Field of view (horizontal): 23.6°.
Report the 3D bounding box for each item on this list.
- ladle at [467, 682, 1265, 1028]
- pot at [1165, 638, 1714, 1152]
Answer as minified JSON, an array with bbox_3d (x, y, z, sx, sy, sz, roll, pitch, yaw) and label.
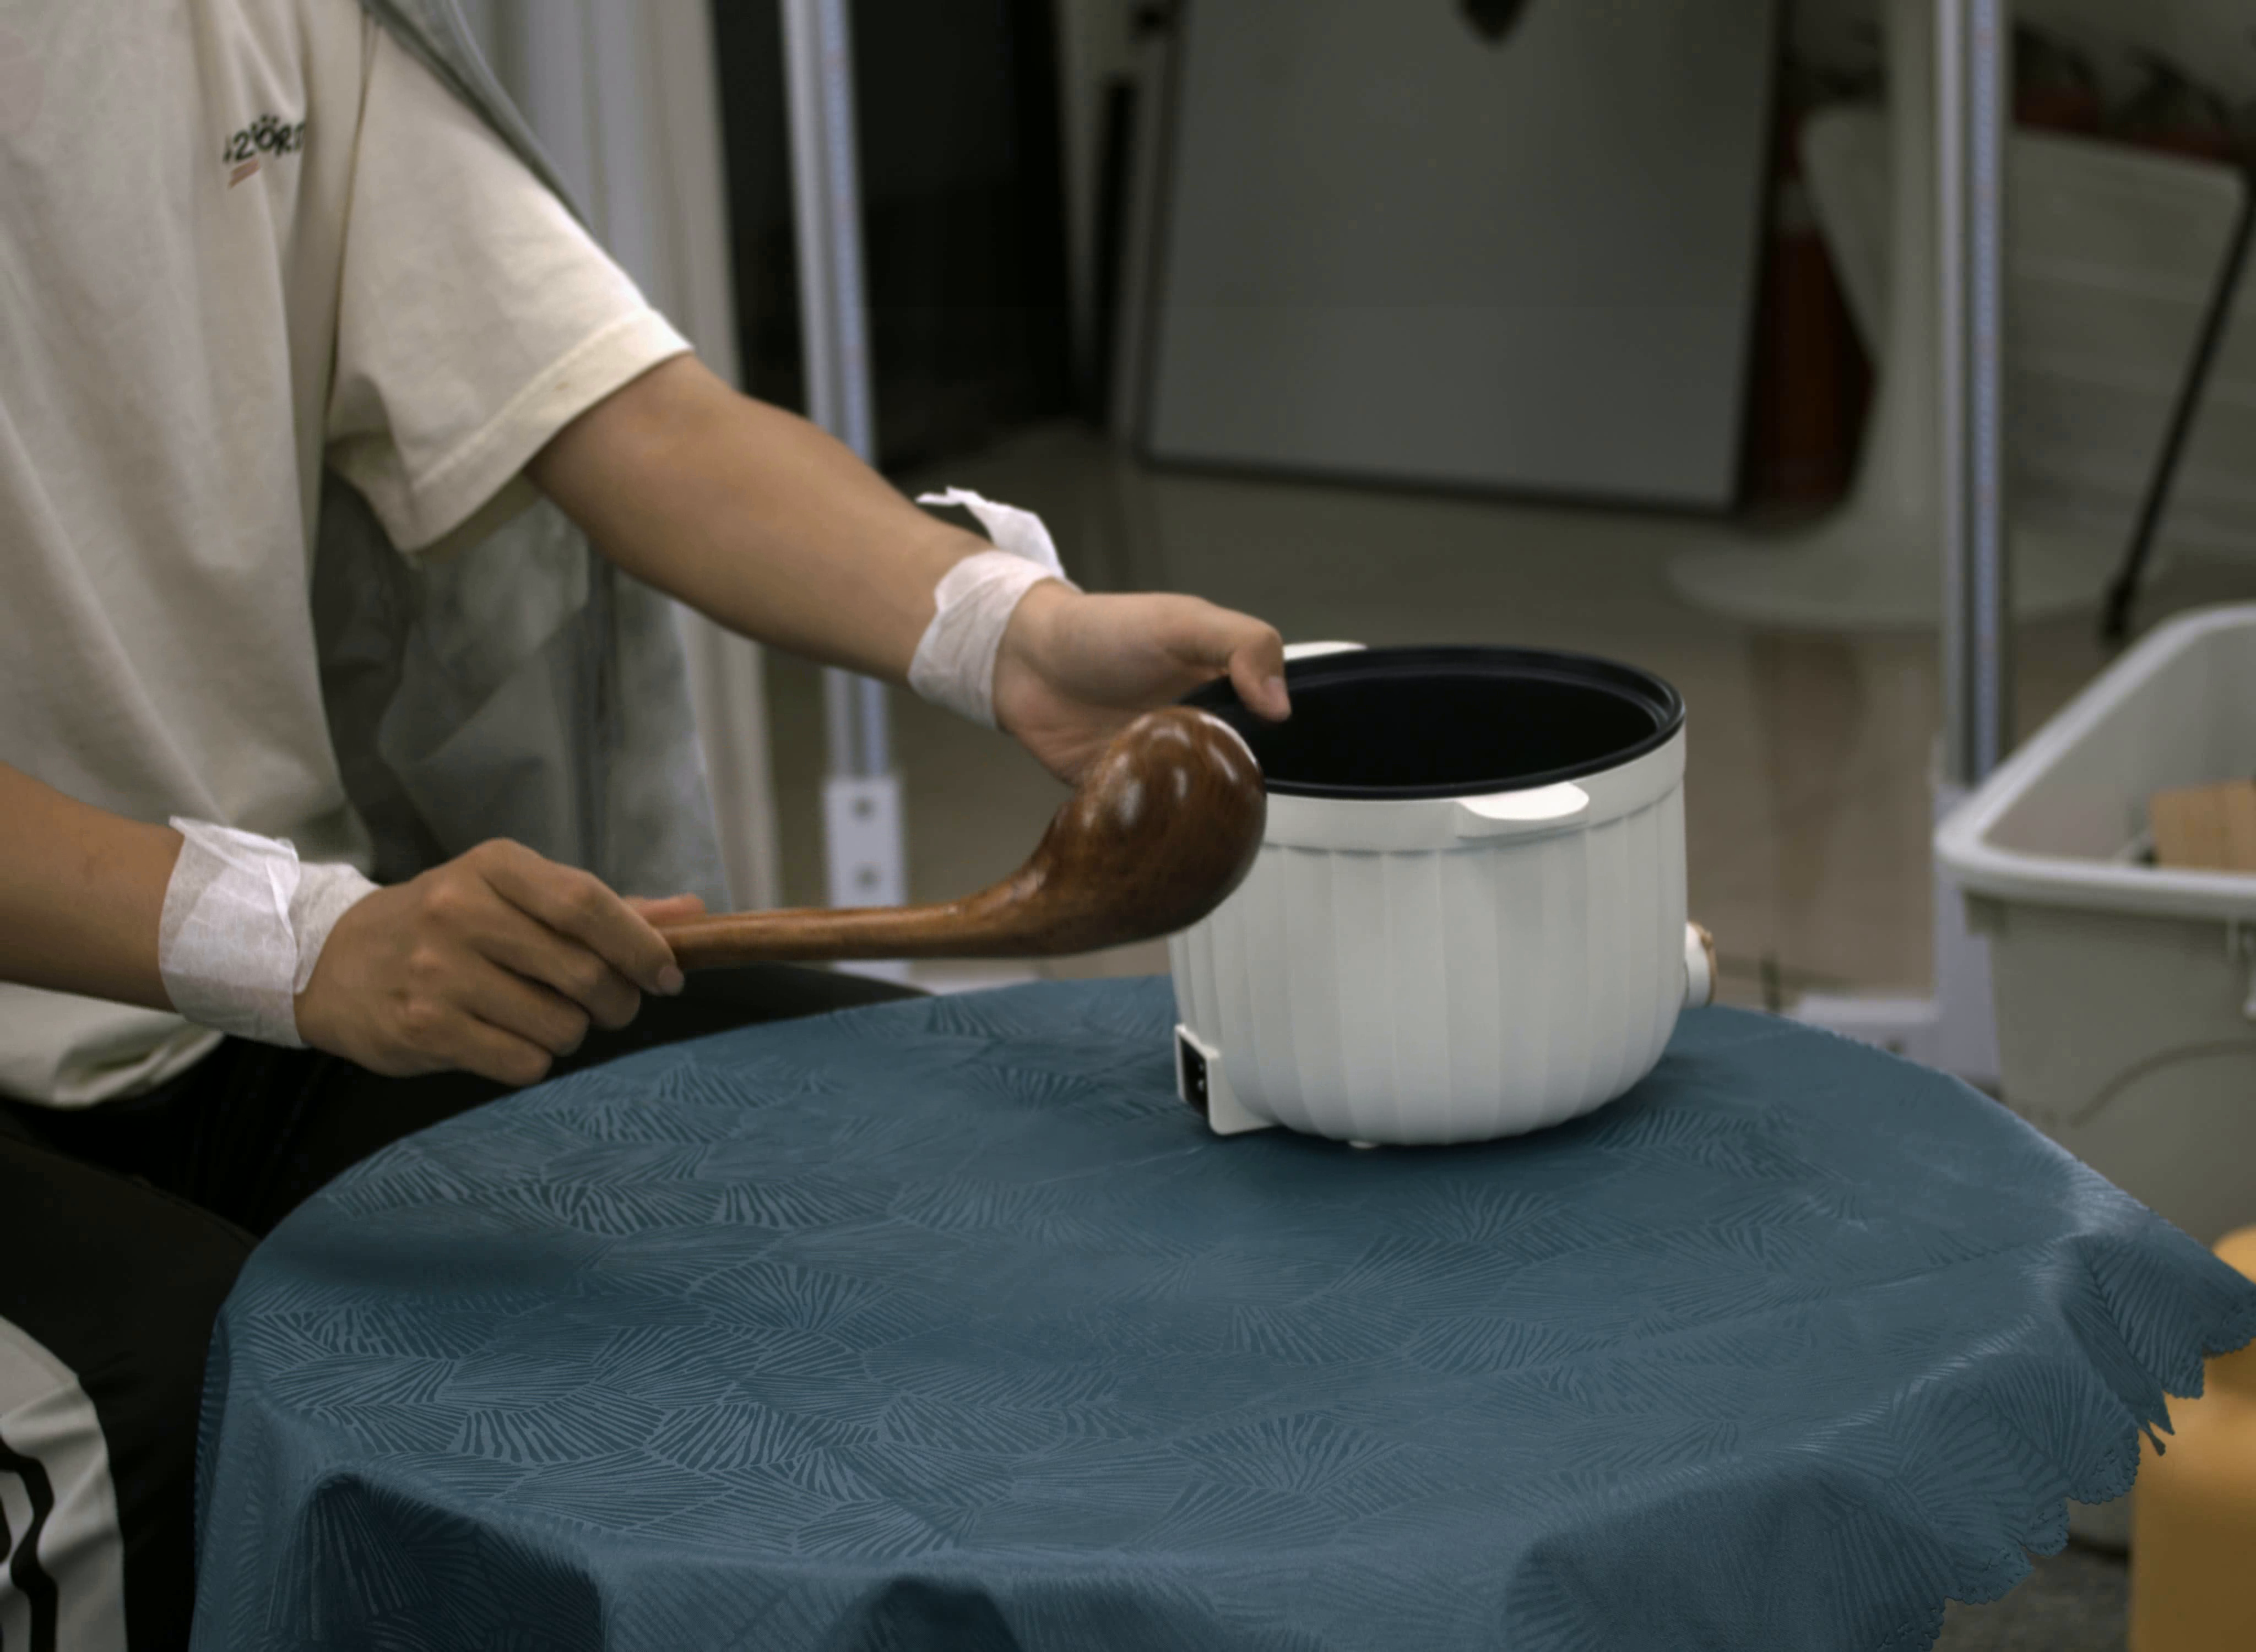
[{"bbox_3d":[-0.086,0.010,1.720,0.274,0.081,0.077,-8,49,25],"label":"ladle"},{"bbox_3d":[0.106,0.024,1.835,0.187,0.144,0.242,-12,19,-15],"label":"pot"}]
